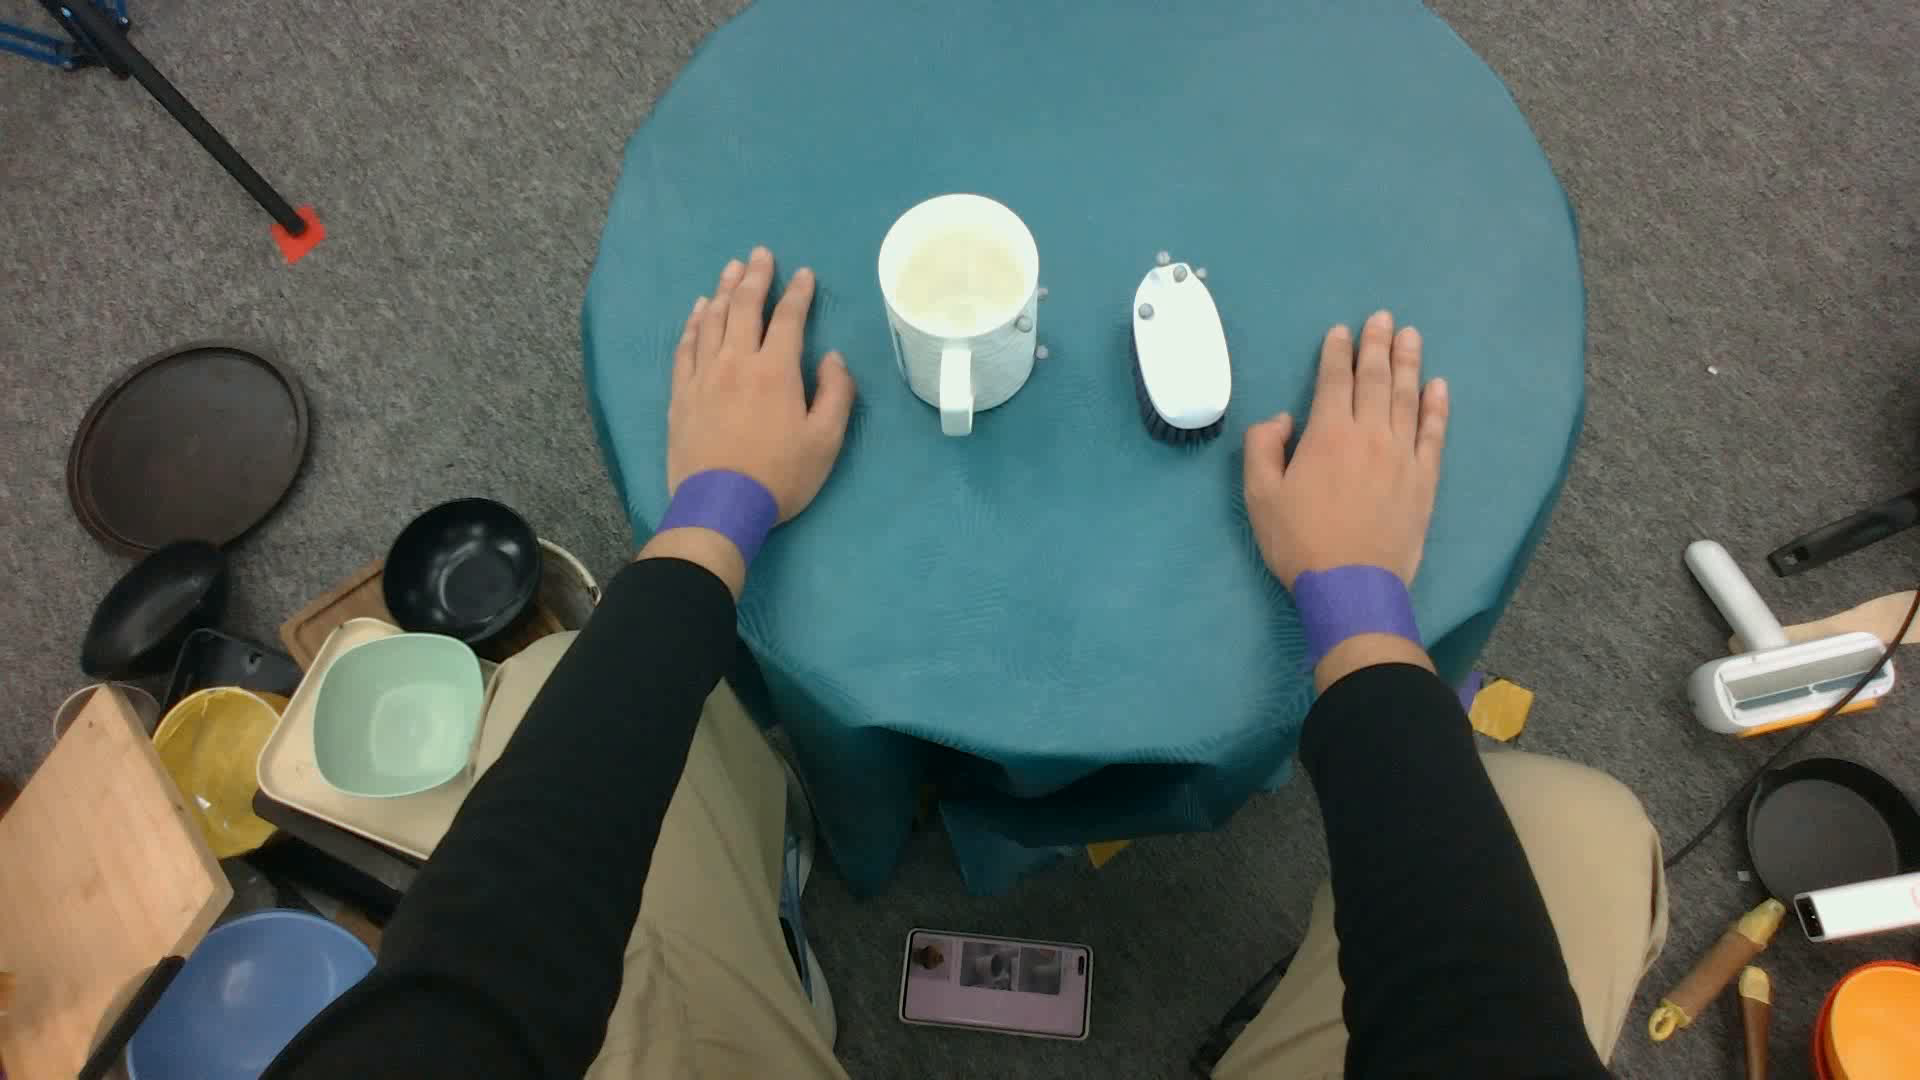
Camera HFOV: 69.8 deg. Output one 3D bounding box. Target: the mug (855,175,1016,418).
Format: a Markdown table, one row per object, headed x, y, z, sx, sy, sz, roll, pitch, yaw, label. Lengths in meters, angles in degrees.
| x | y | z | sx | sy | sz | roll | pitch | yaw | label |
| --- | --- | --- | --- | --- | --- | --- | --- | --- | --- |
| -0.012 | -0.124 | 0.767 | 0.085 | 0.101 | 0.118 | 0 | 71 | 2 | mug |

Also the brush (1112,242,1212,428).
| x | y | z | sx | sy | sz | roll | pitch | yaw | label |
| --- | --- | --- | --- | --- | --- | --- | --- | --- | --- |
| 0.115 | -0.122 | 0.778 | 0.050 | 0.072 | 0.099 | -8 | 69 | 1 | brush |
